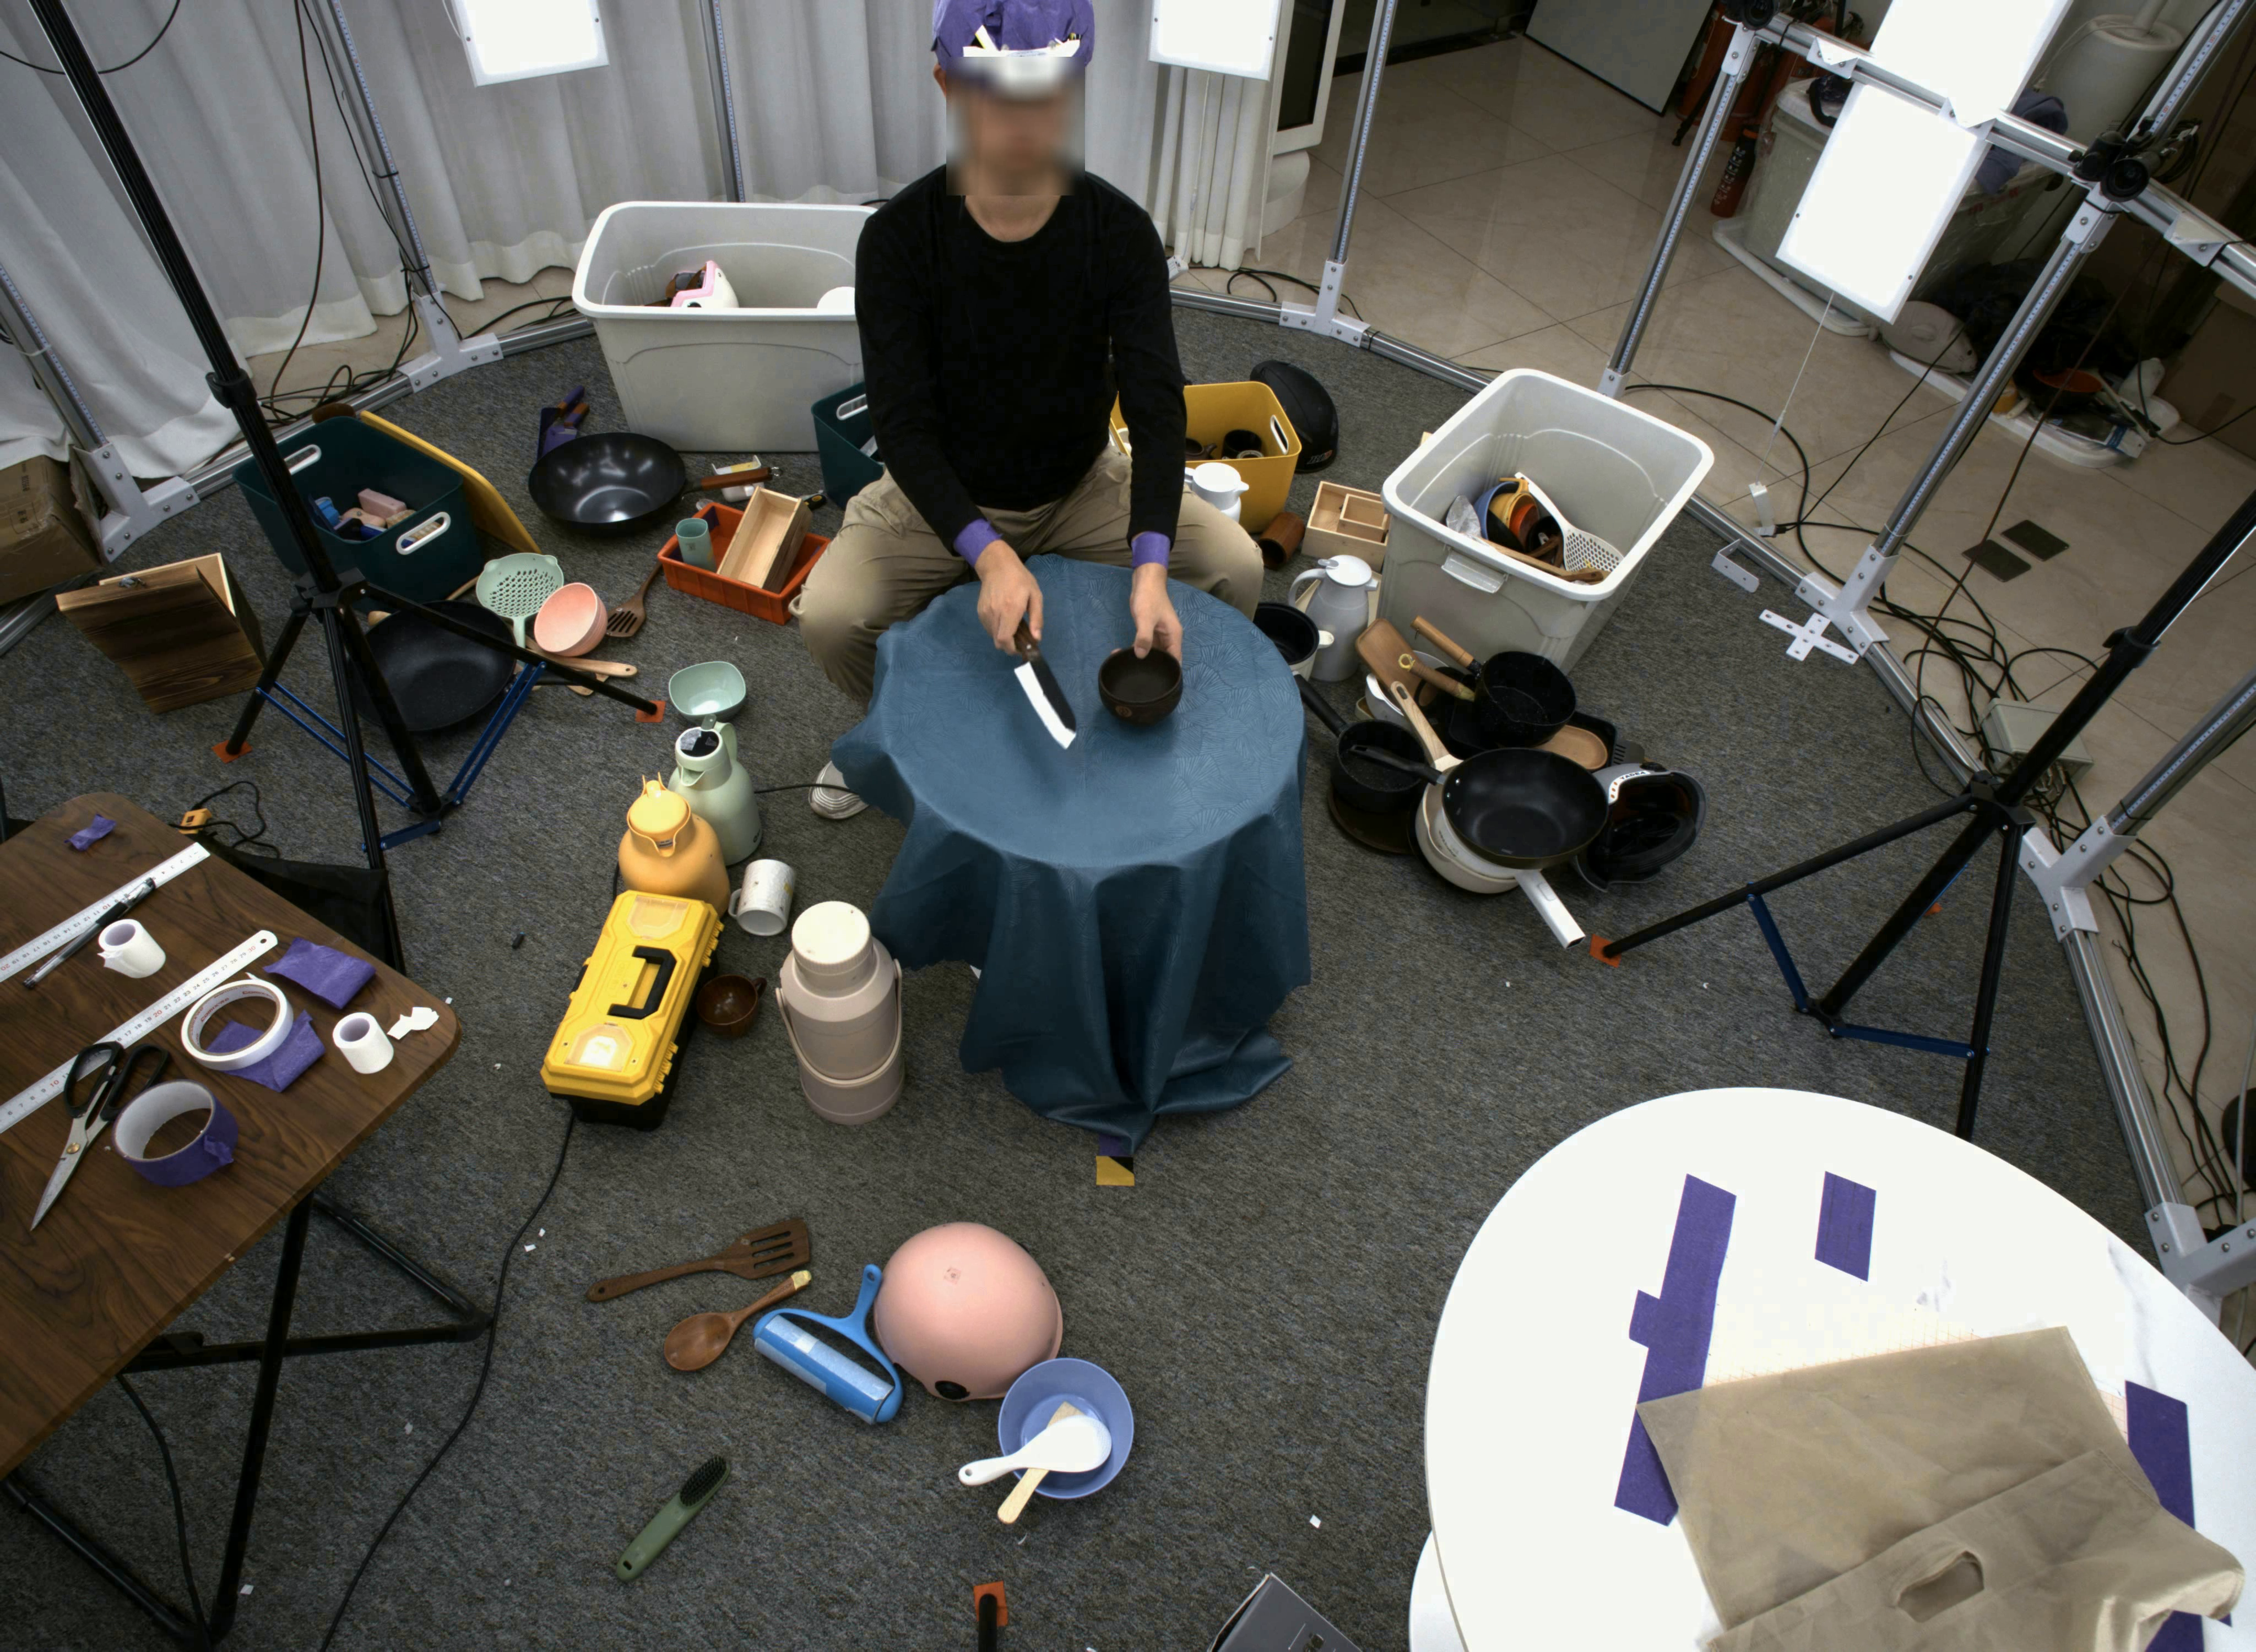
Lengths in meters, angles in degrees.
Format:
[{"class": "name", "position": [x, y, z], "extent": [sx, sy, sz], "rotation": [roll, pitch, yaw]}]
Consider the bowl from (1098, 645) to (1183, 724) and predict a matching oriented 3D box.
[{"class": "bowl", "position": [0.019, -0.189, 1.785], "extent": [0.118, 0.068, 0.121], "rotation": [-4, 48, 4]}]

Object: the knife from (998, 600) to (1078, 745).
[{"class": "knife", "position": [-0.125, -0.212, 1.753], "extent": [0.050, 0.019, 0.296], "rotation": [-26, 52, 0]}]
